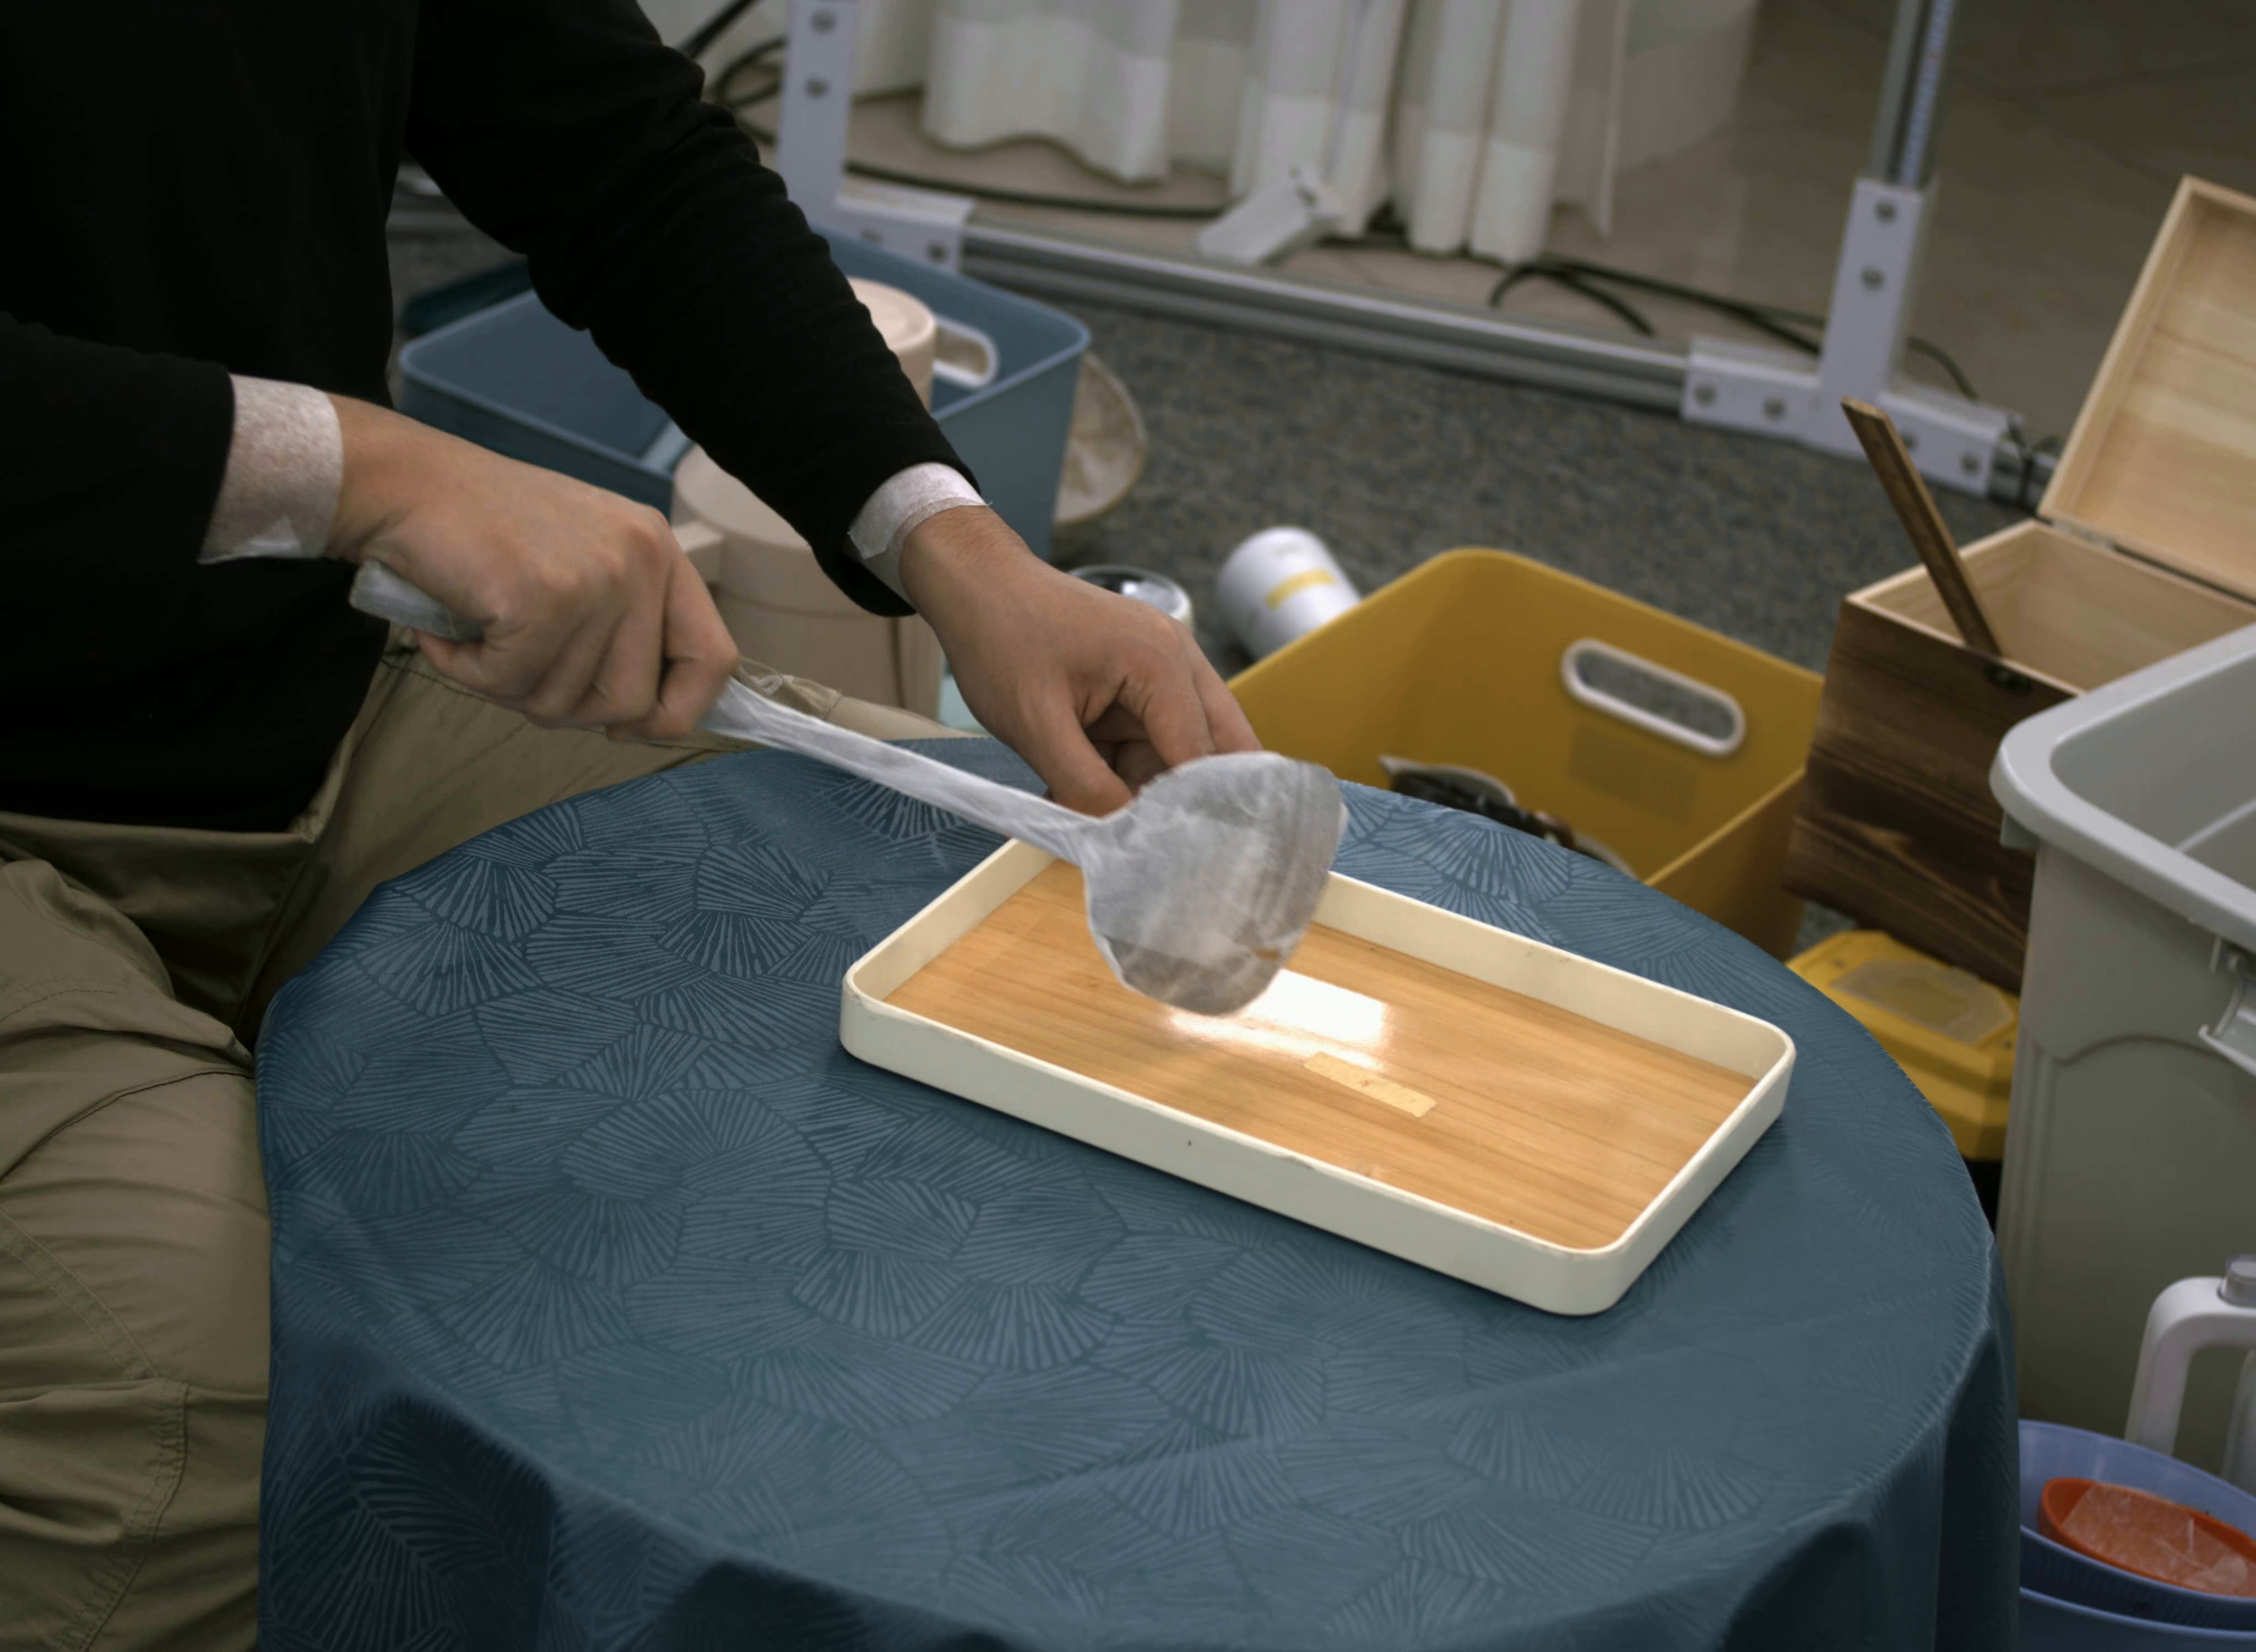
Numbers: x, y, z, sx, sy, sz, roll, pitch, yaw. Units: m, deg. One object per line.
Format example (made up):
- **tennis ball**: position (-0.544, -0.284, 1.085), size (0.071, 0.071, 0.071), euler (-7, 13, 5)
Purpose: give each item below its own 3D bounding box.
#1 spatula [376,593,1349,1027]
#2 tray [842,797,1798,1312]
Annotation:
- **spatula**: position (-0.085, -0.020, 1.792), size (0.362, 0.099, 0.045), euler (20, 8, -20)
- **tray**: position (0.068, 0.076, 1.877), size (0.301, 0.027, 0.191), euler (19, 30, 23)
